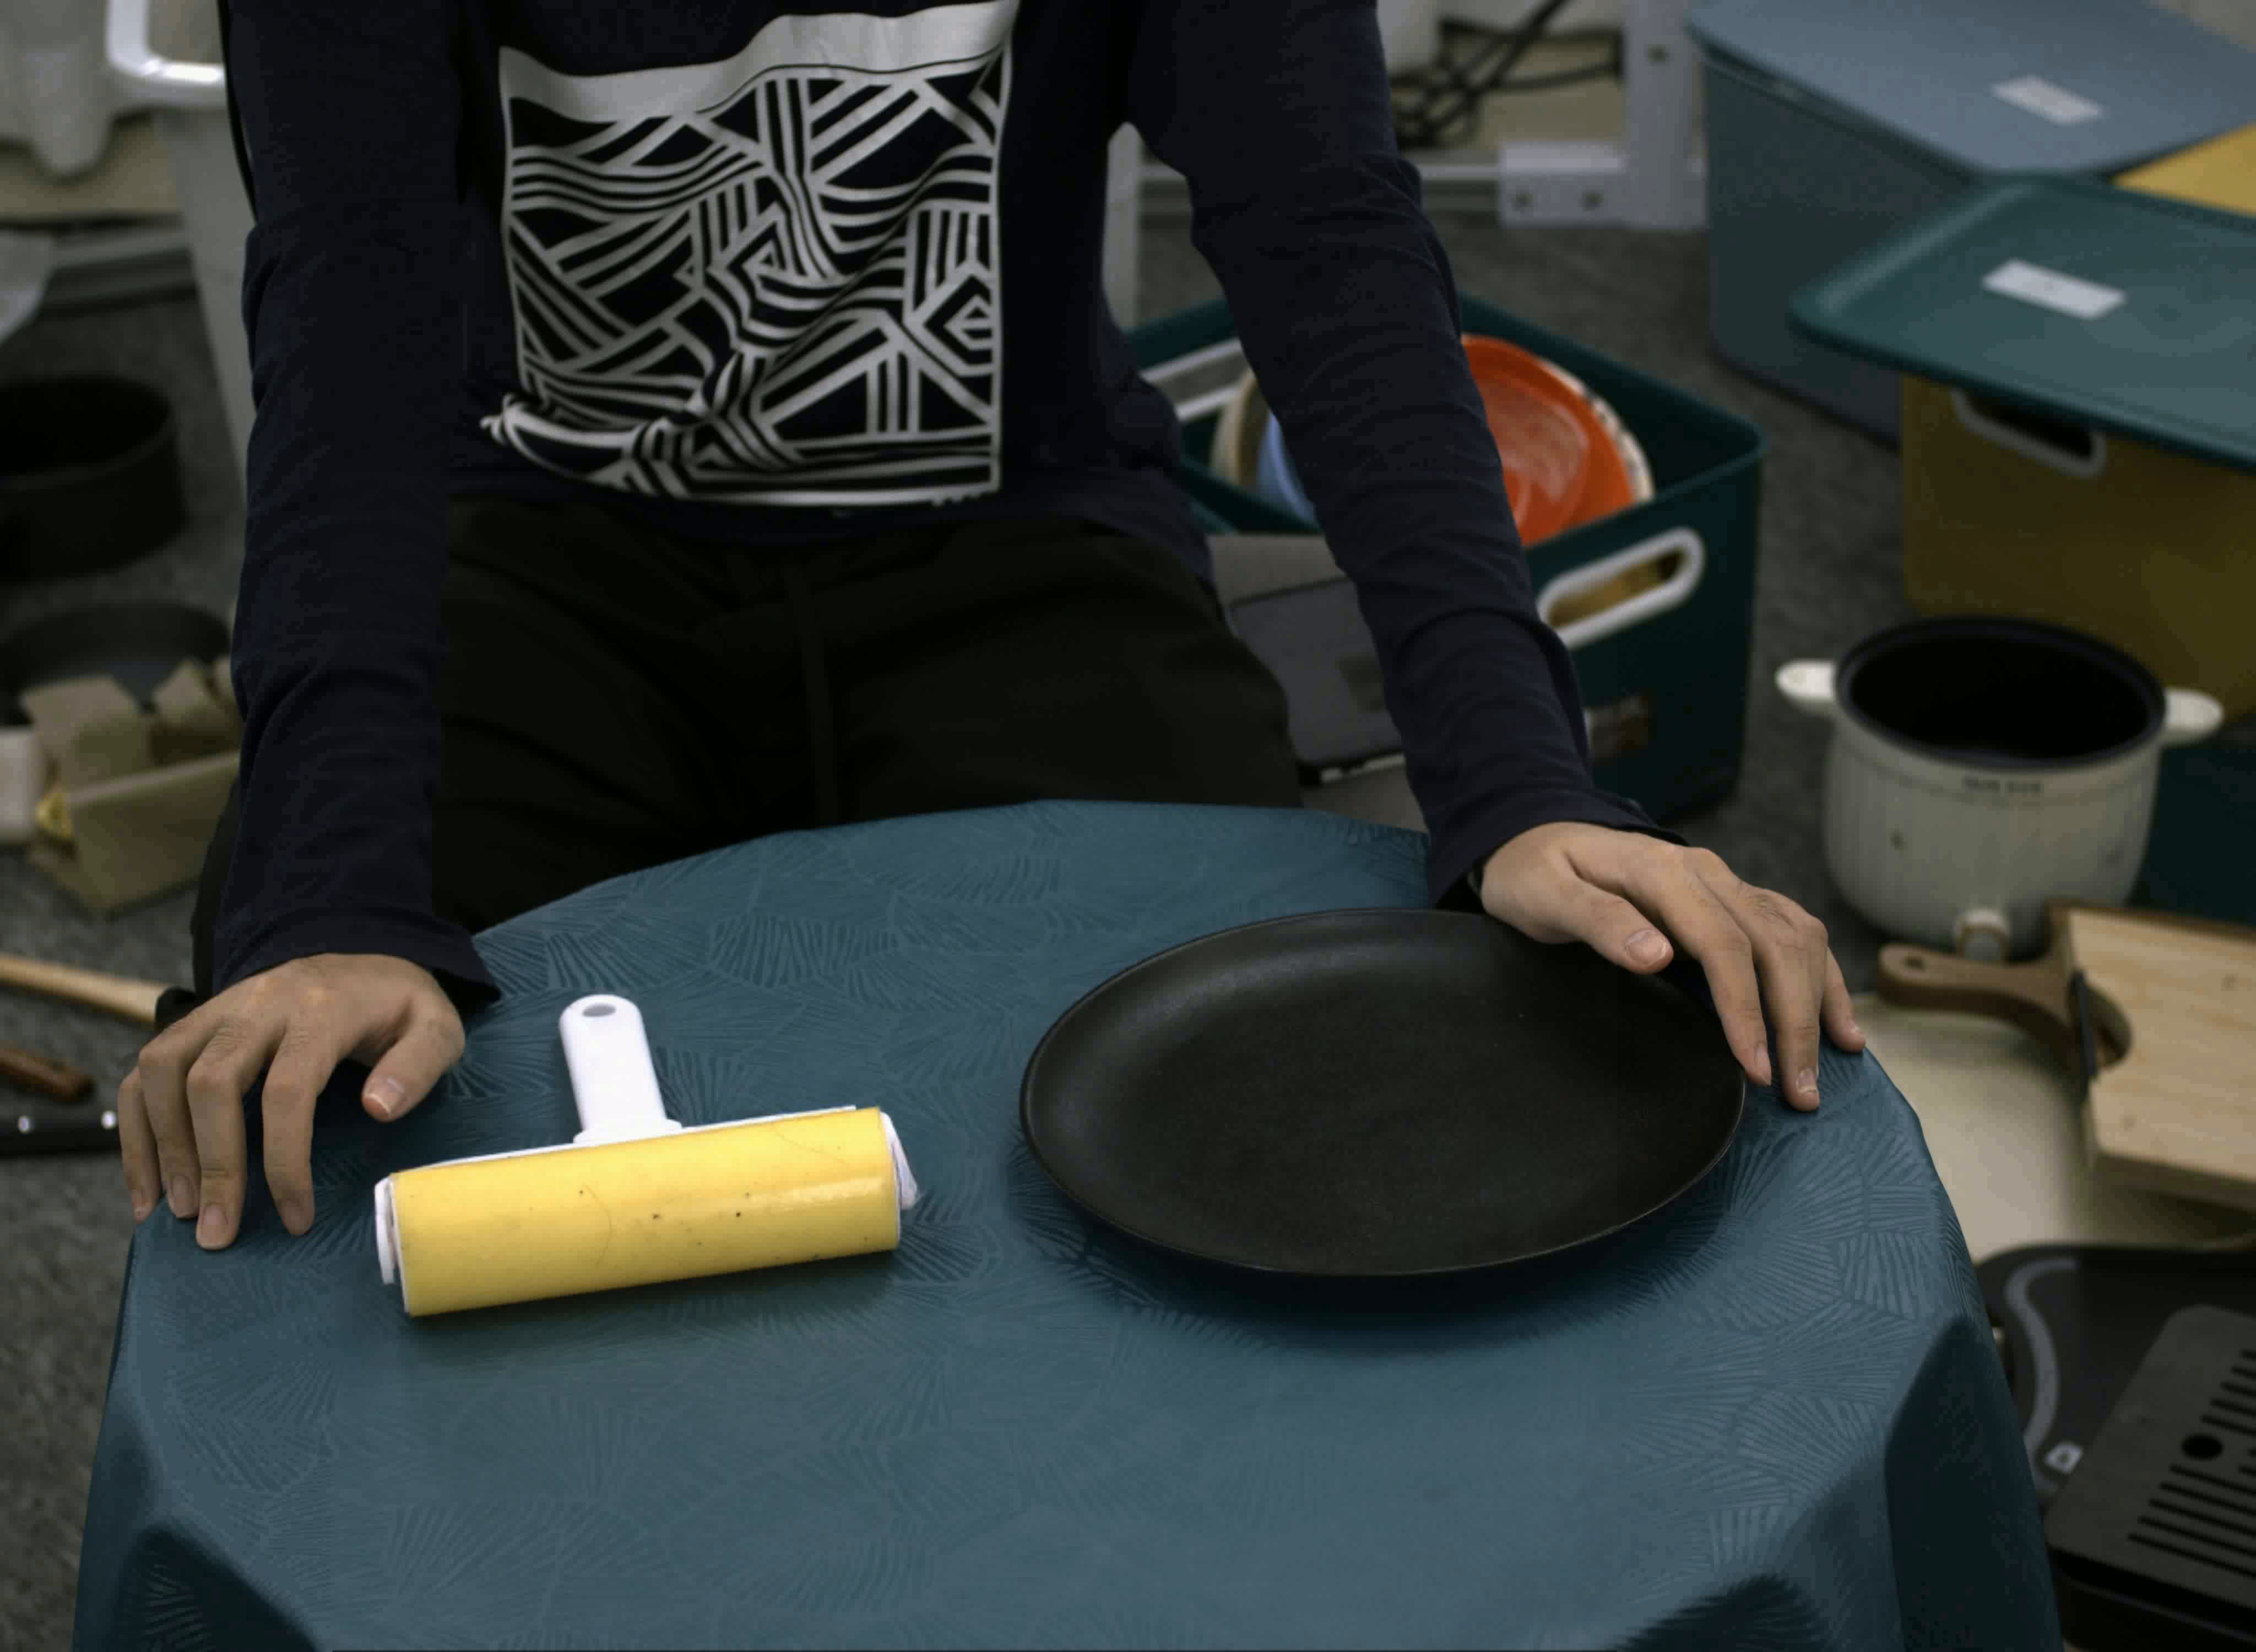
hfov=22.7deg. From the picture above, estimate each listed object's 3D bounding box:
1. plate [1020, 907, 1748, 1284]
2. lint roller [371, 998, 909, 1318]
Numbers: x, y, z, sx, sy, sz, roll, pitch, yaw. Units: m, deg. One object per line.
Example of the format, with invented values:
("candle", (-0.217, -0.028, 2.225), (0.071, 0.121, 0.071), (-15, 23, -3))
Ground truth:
("plate", (0.085, 0.094, 1.882), (0.243, 0.023, 0.248), (-2, 27, 1))
("lint roller", (-0.173, 0.093, 1.881), (0.174, 0.051, 0.194), (-7, 30, -10))
